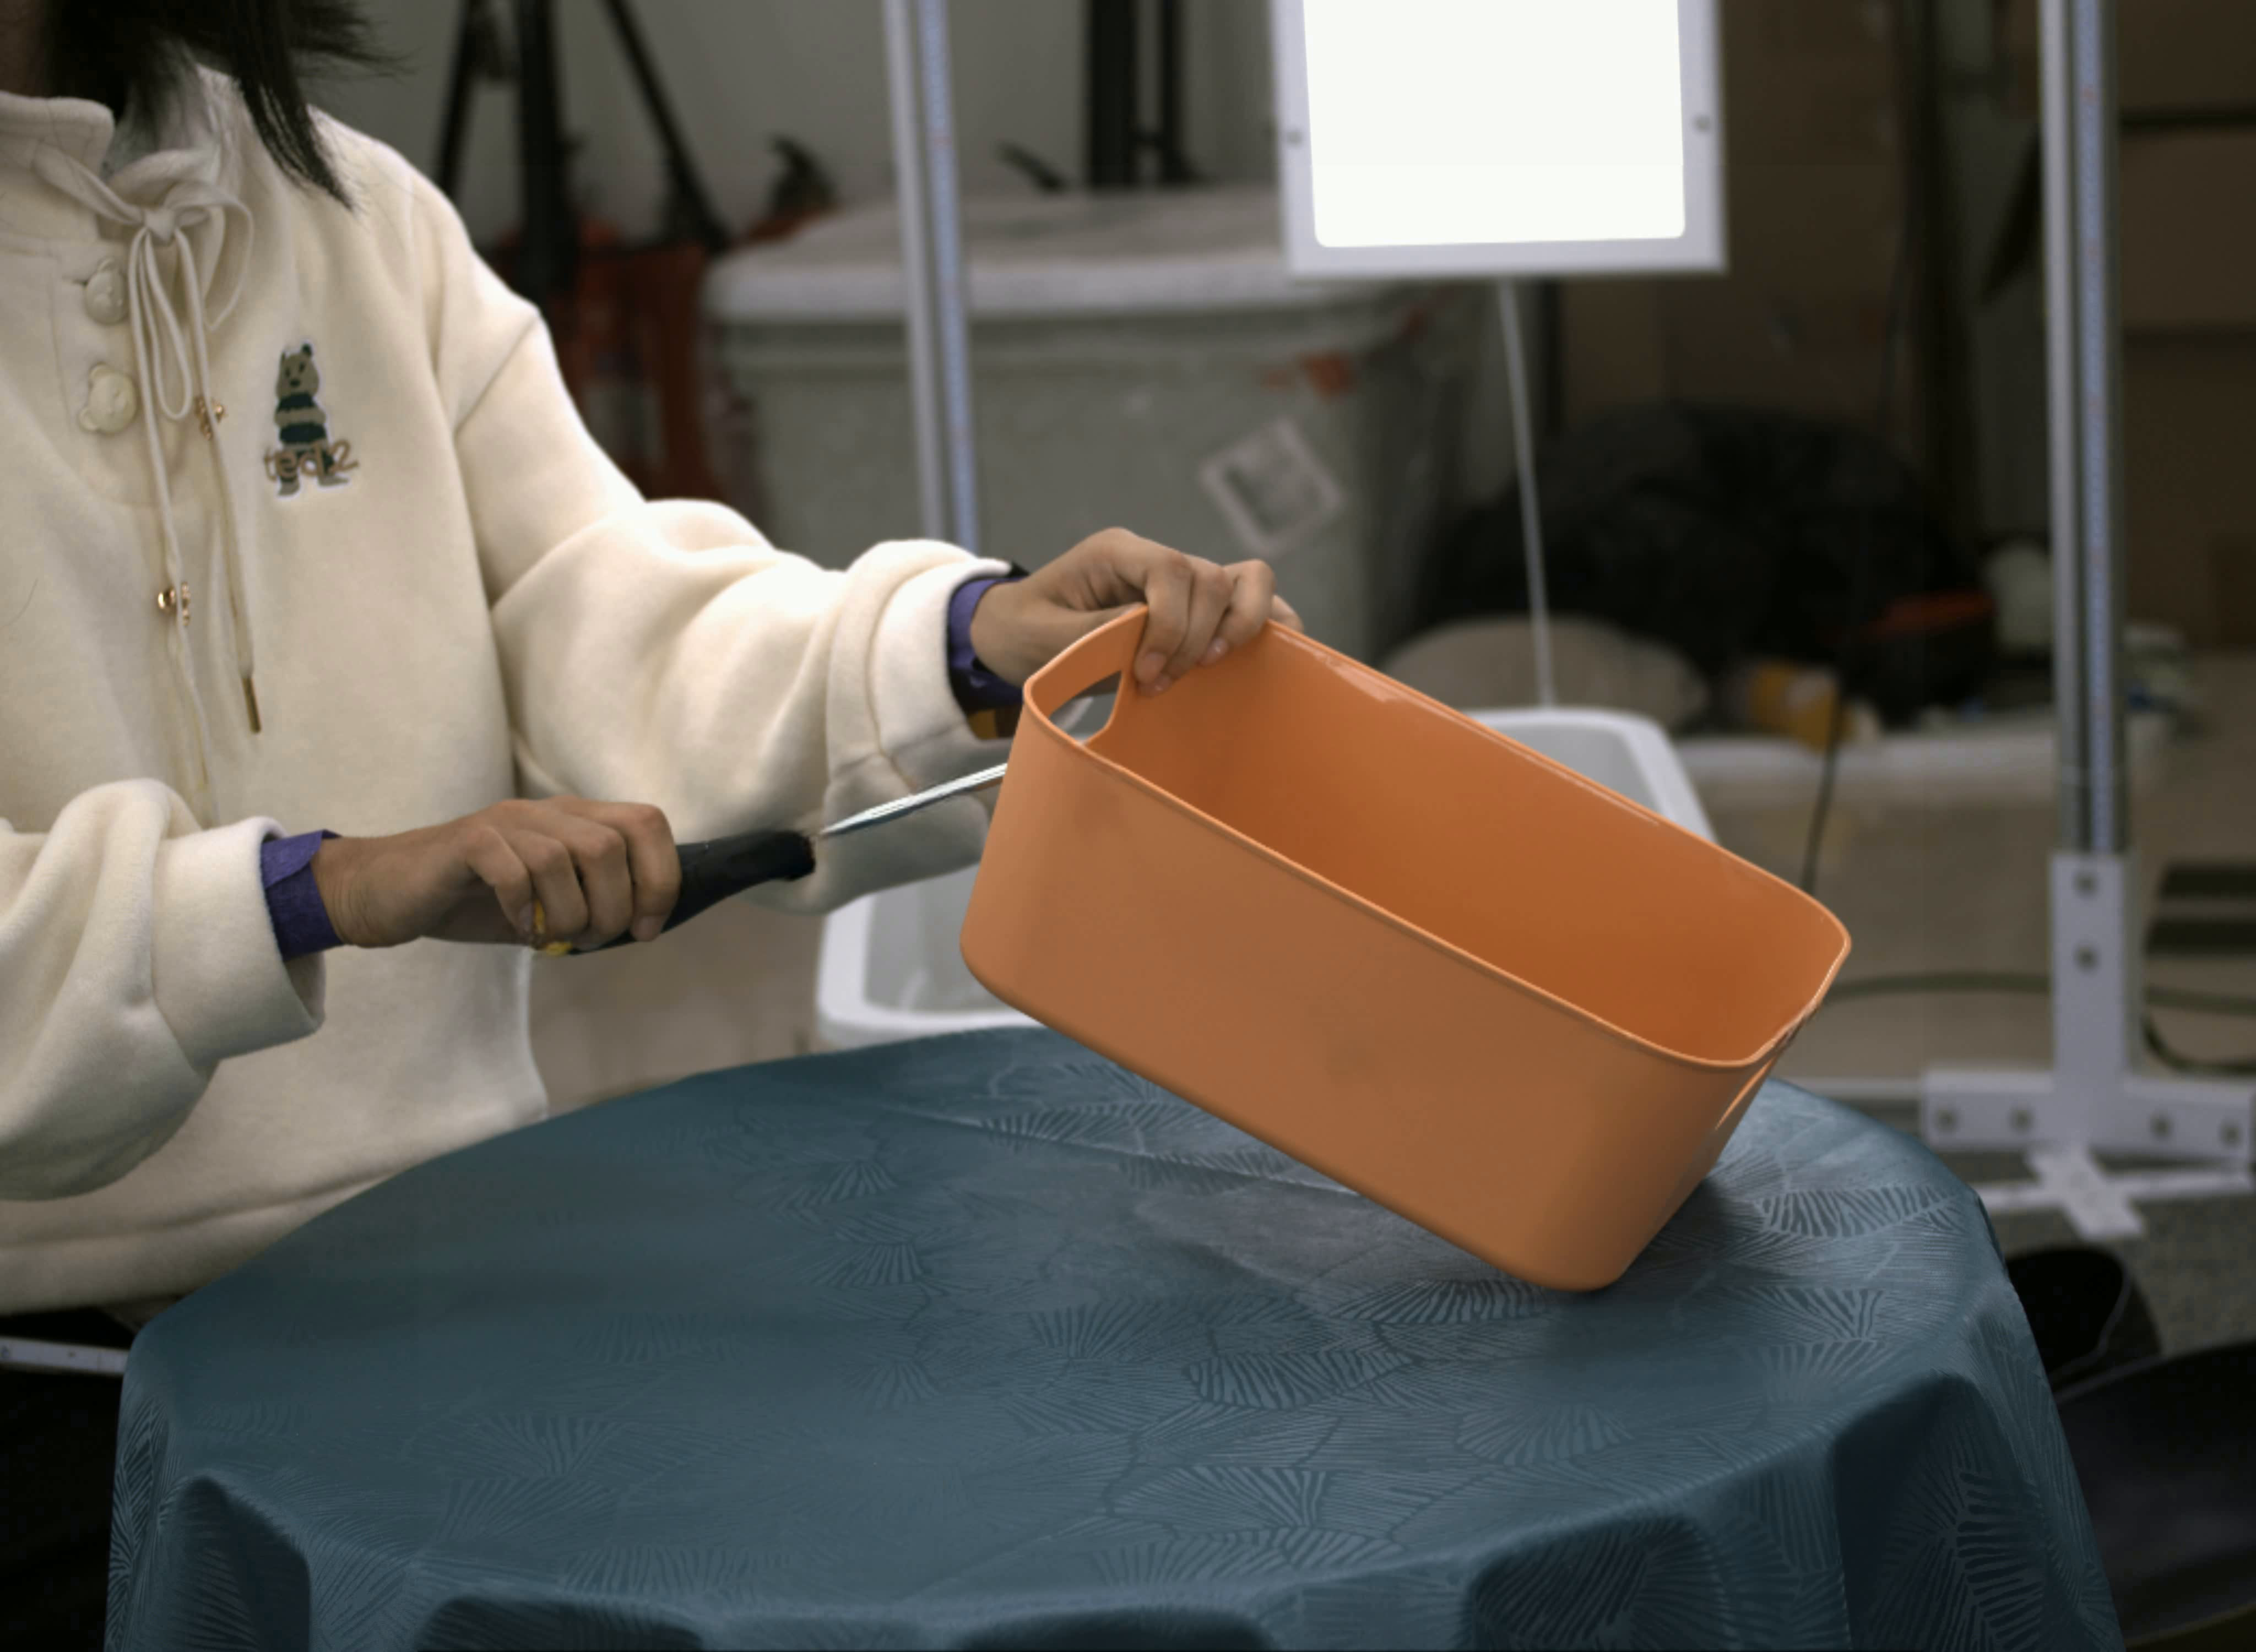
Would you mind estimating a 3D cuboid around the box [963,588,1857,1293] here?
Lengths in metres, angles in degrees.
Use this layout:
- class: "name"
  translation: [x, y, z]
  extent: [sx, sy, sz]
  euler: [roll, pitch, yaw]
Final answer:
- class: "box"
  translation: [0.088, 0.037, 1.820]
  extent: [0.275, 0.104, 0.195]
  euler: [28, 24, 14]

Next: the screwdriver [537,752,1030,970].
- class: "screwdriver"
  translation: [-0.106, 0.008, 1.833]
  extent: [0.198, 0.031, 0.031]
  euler: [-19, 11, 13]
